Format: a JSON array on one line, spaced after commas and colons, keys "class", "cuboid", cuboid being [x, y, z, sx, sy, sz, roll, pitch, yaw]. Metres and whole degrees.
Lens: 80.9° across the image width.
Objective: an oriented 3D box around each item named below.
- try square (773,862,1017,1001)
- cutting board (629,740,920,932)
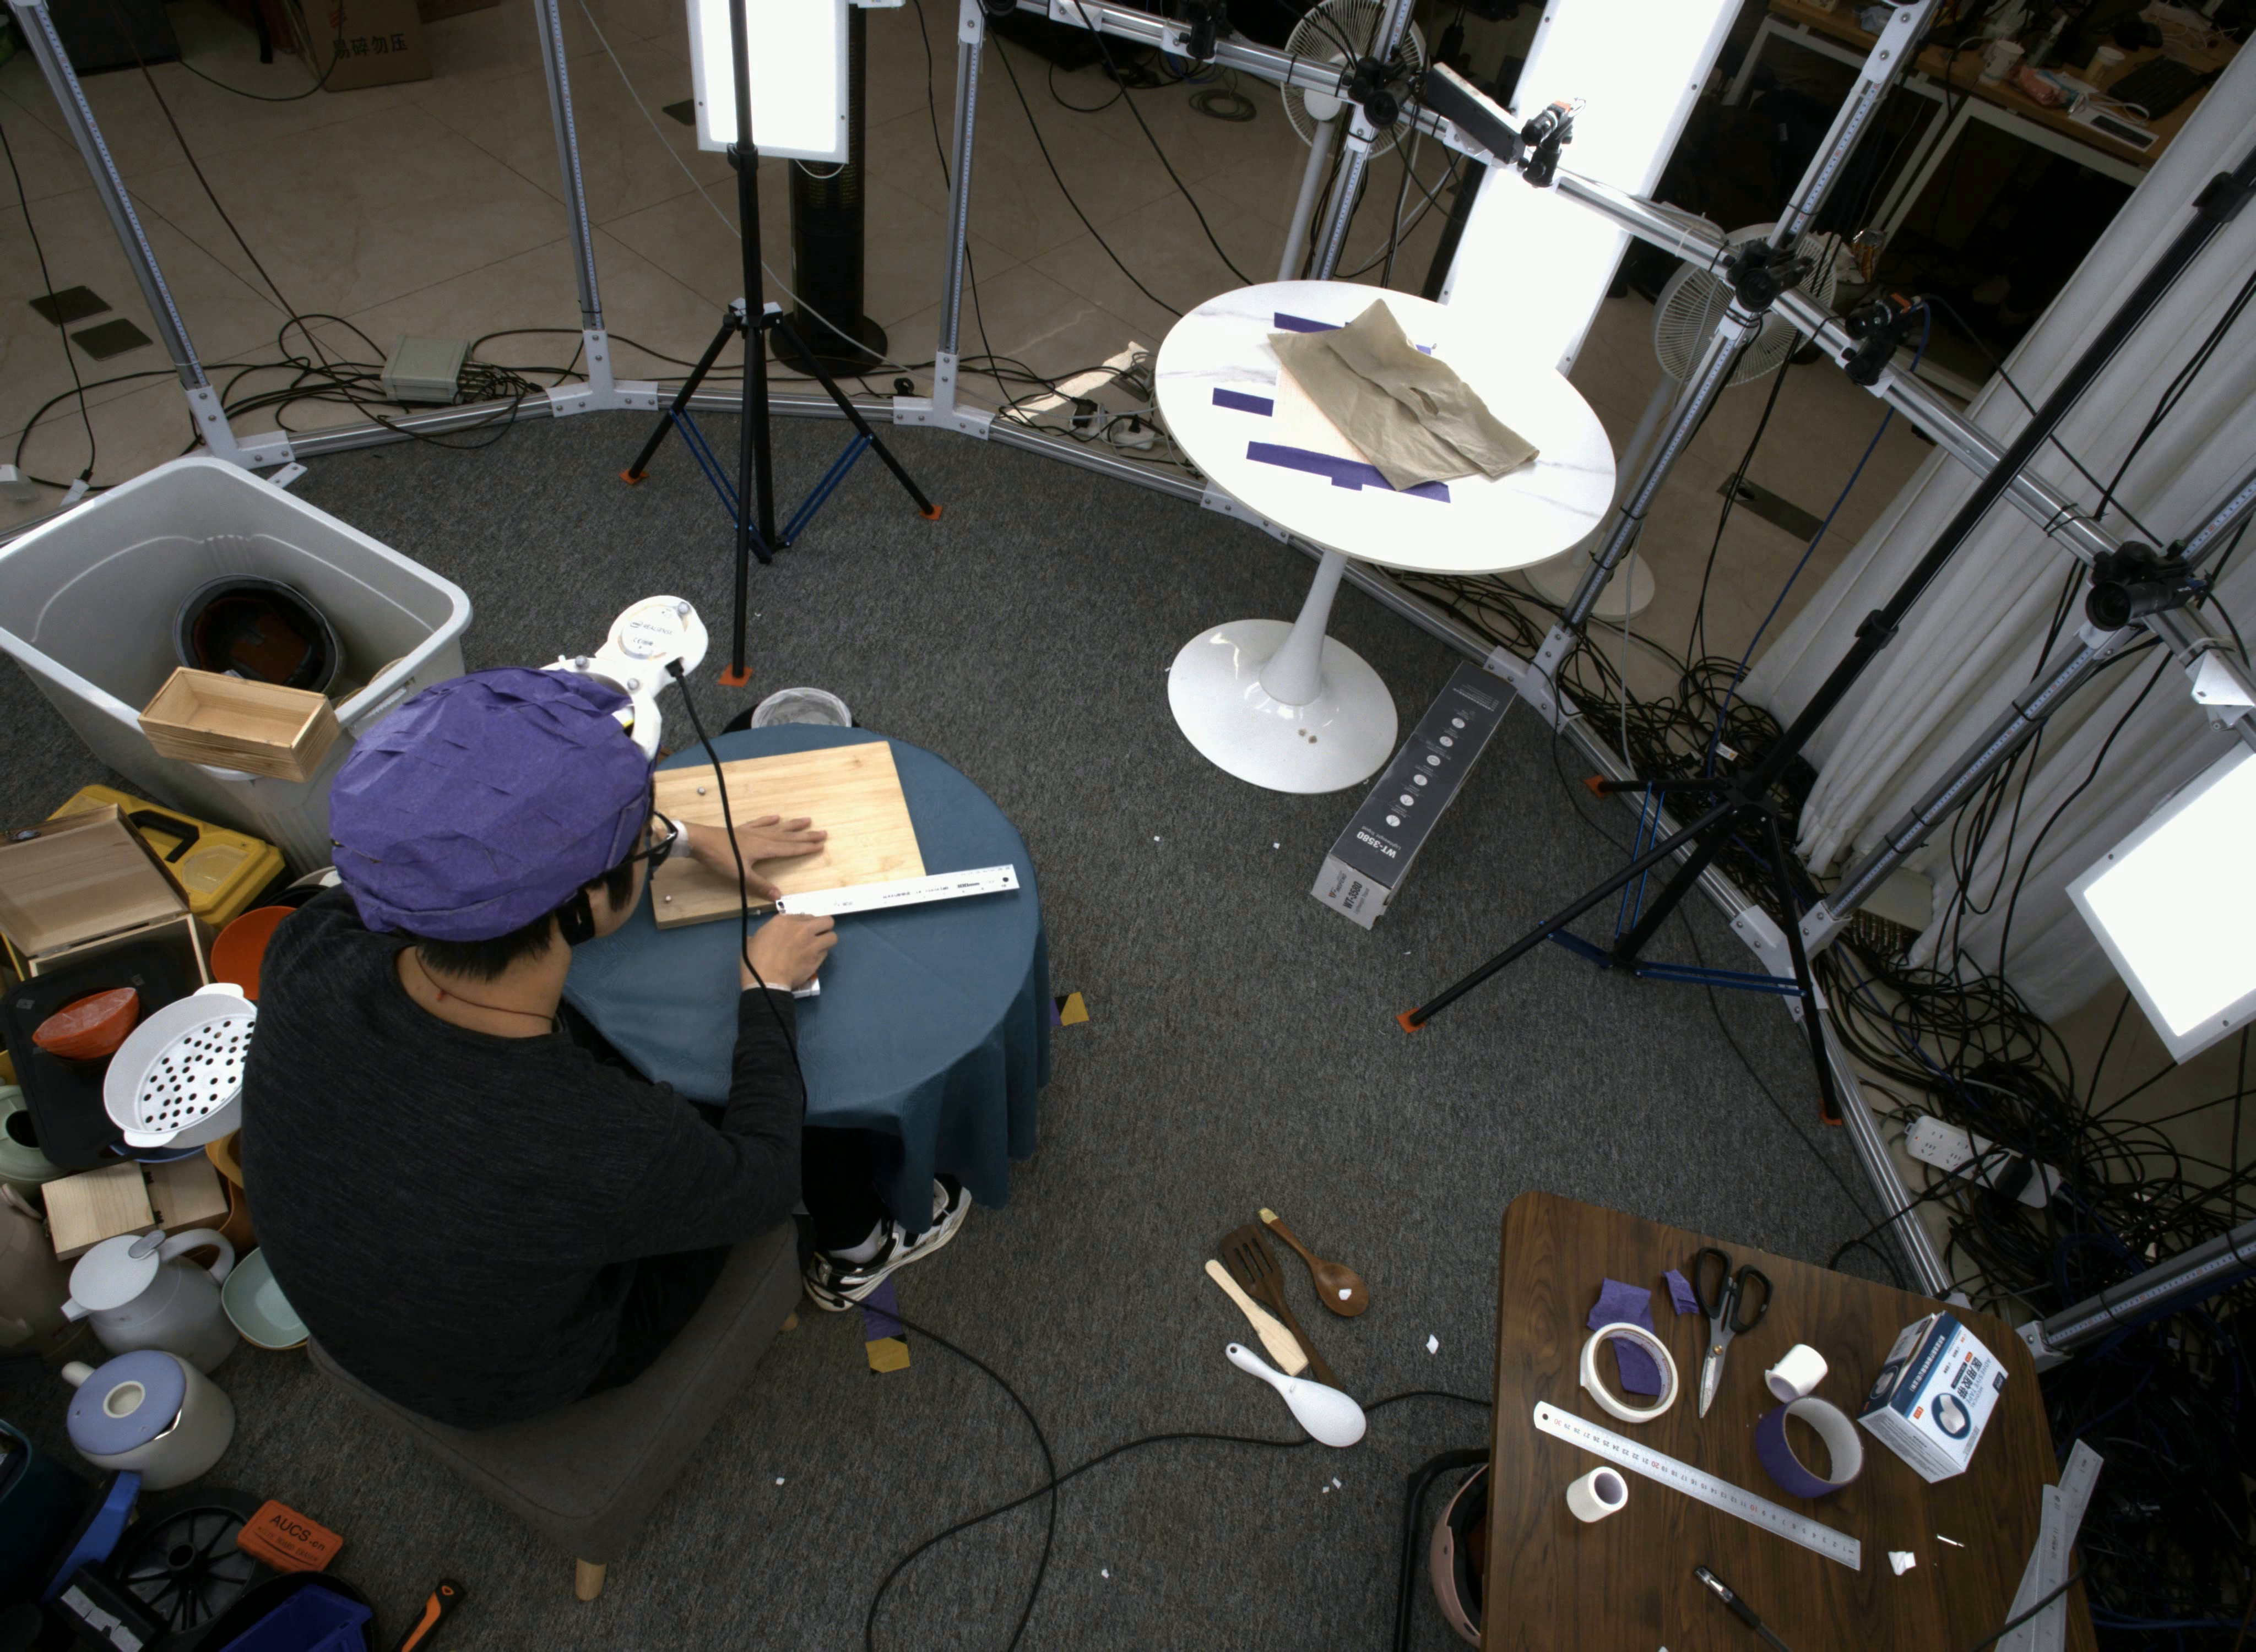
[{"class": "try square", "cuboid": [-0.281, 0.126, 1.638, 0.314, 0.016, 0.148, -8, 56, -20]}, {"class": "cutting board", "cuboid": [-0.463, 0.005, 1.695, 0.350, 0.024, 0.244, -10, 57, -22]}]
